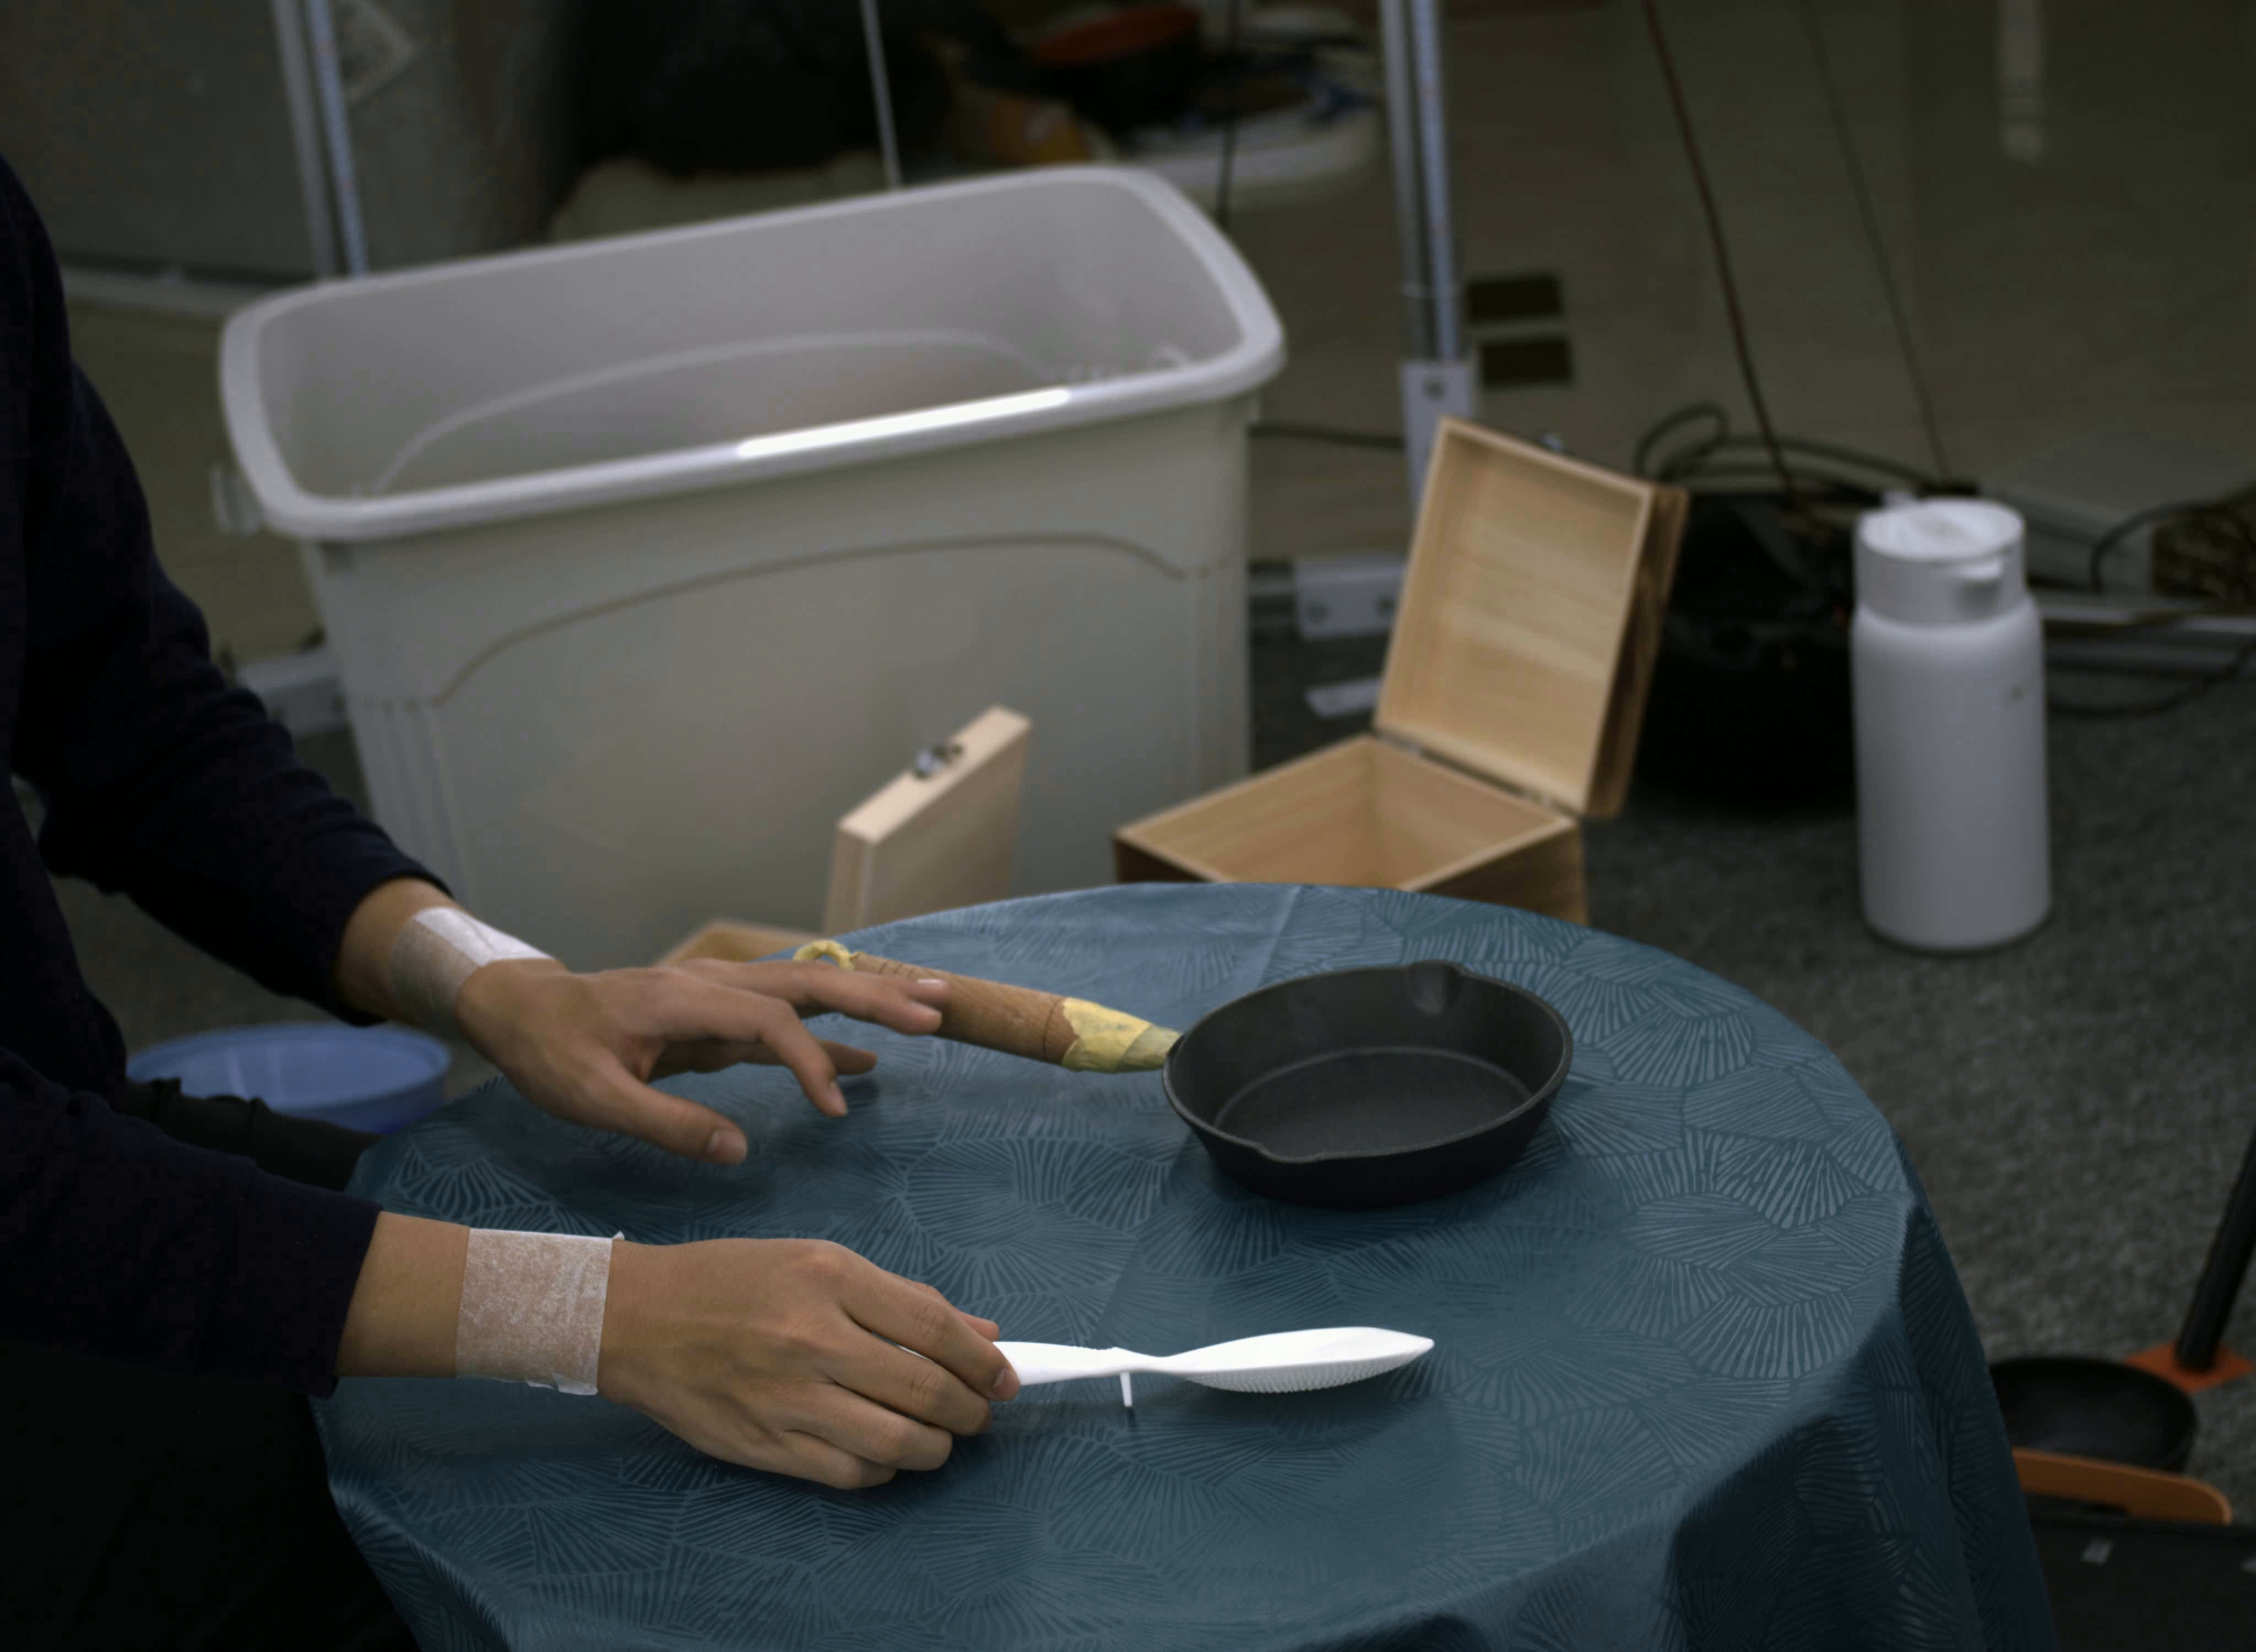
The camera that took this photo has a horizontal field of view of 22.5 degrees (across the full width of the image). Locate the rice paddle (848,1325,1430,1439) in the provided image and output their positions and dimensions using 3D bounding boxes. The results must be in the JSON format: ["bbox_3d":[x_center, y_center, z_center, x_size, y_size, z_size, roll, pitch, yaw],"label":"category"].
[{"bbox_3d":[0.004,0.189,2.001,0.205,0.029,0.068,-7,4,2],"label":"rice paddle"}]

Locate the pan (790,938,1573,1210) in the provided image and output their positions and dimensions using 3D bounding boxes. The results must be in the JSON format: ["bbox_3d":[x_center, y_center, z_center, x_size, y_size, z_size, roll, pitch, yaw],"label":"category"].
[{"bbox_3d":[0.016,0.086,2.196,0.323,0.050,0.167,8,29,25],"label":"pan"}]
